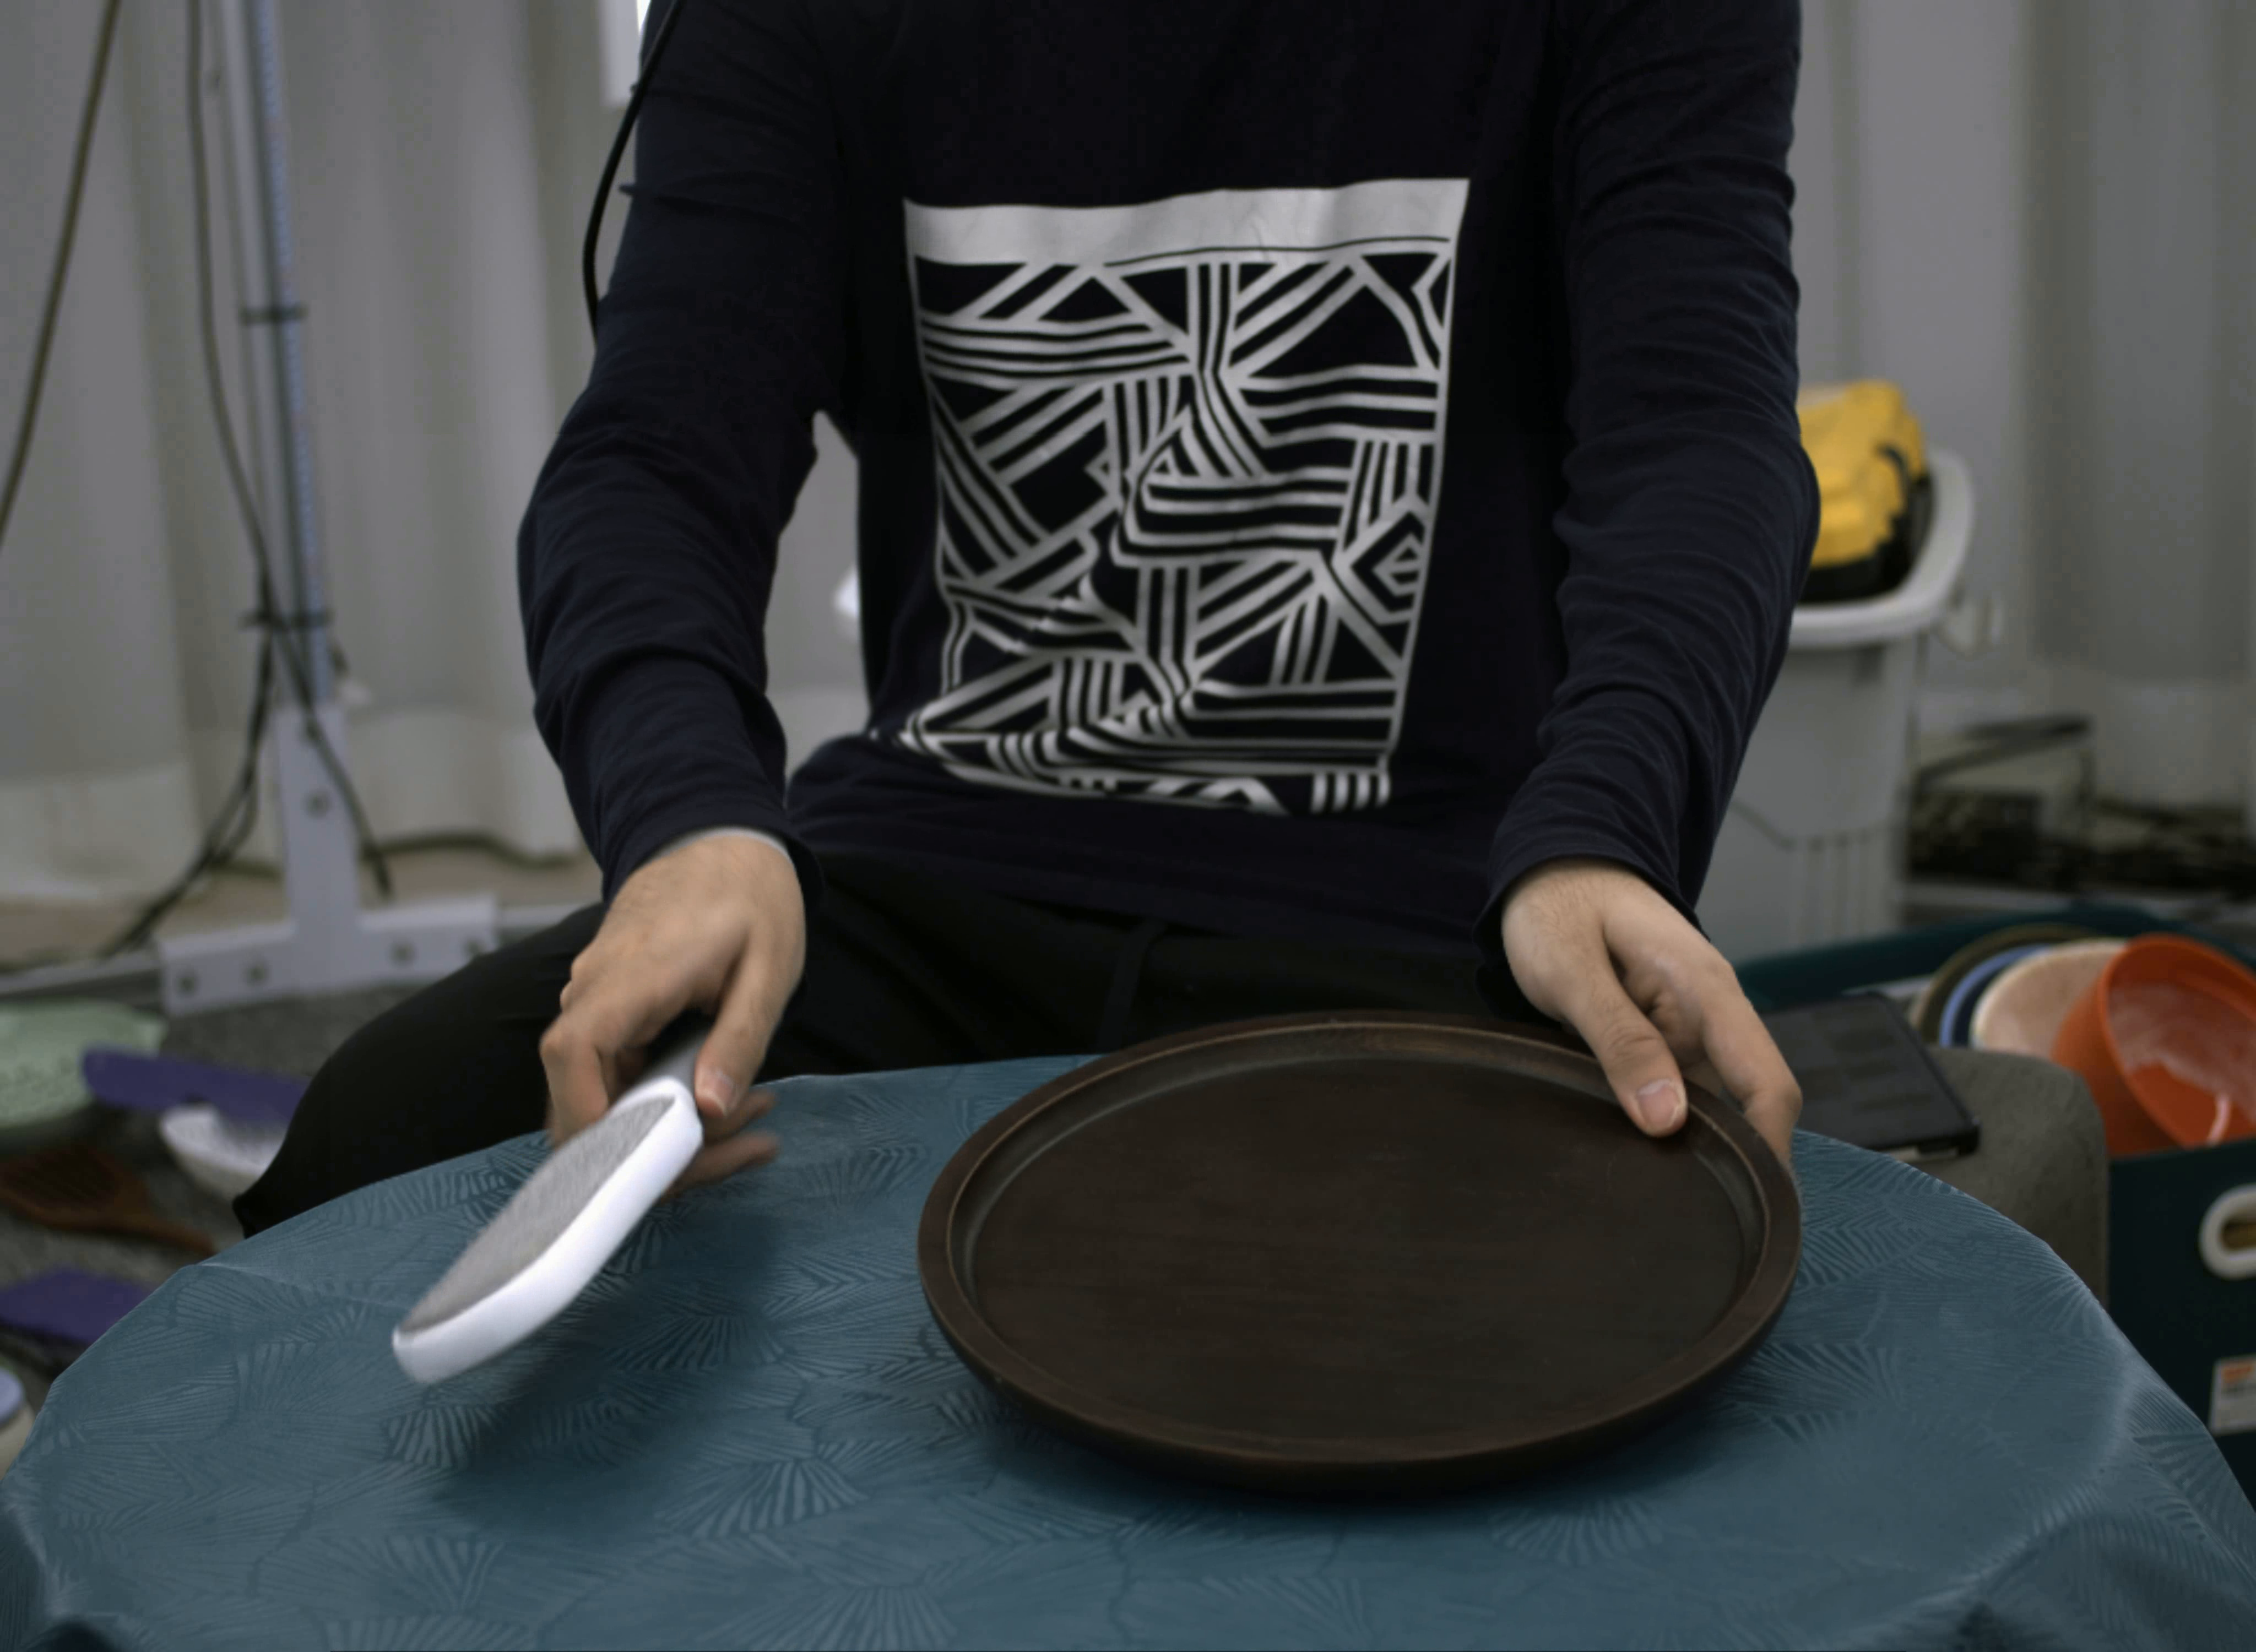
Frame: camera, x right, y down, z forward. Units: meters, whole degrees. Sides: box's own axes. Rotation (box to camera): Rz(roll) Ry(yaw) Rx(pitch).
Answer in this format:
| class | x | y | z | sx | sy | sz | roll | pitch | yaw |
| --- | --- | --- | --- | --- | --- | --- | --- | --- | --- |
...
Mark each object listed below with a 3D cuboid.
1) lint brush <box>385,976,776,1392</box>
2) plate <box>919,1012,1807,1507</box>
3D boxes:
| class | x | y | z | sx | sy | sz | roll | pitch | yaw |
| --- | --- | --- | --- | --- | --- | --- | --- | --- | --- |
| lint brush | -0.154 | 0.100 | 1.632 | 0.060 | 0.021 | 0.310 | -33 | 7 | 19 |
| plate | 0.066 | 0.120 | 1.556 | 0.254 | 0.029 | 0.258 | -1 | 26 | 0 |
